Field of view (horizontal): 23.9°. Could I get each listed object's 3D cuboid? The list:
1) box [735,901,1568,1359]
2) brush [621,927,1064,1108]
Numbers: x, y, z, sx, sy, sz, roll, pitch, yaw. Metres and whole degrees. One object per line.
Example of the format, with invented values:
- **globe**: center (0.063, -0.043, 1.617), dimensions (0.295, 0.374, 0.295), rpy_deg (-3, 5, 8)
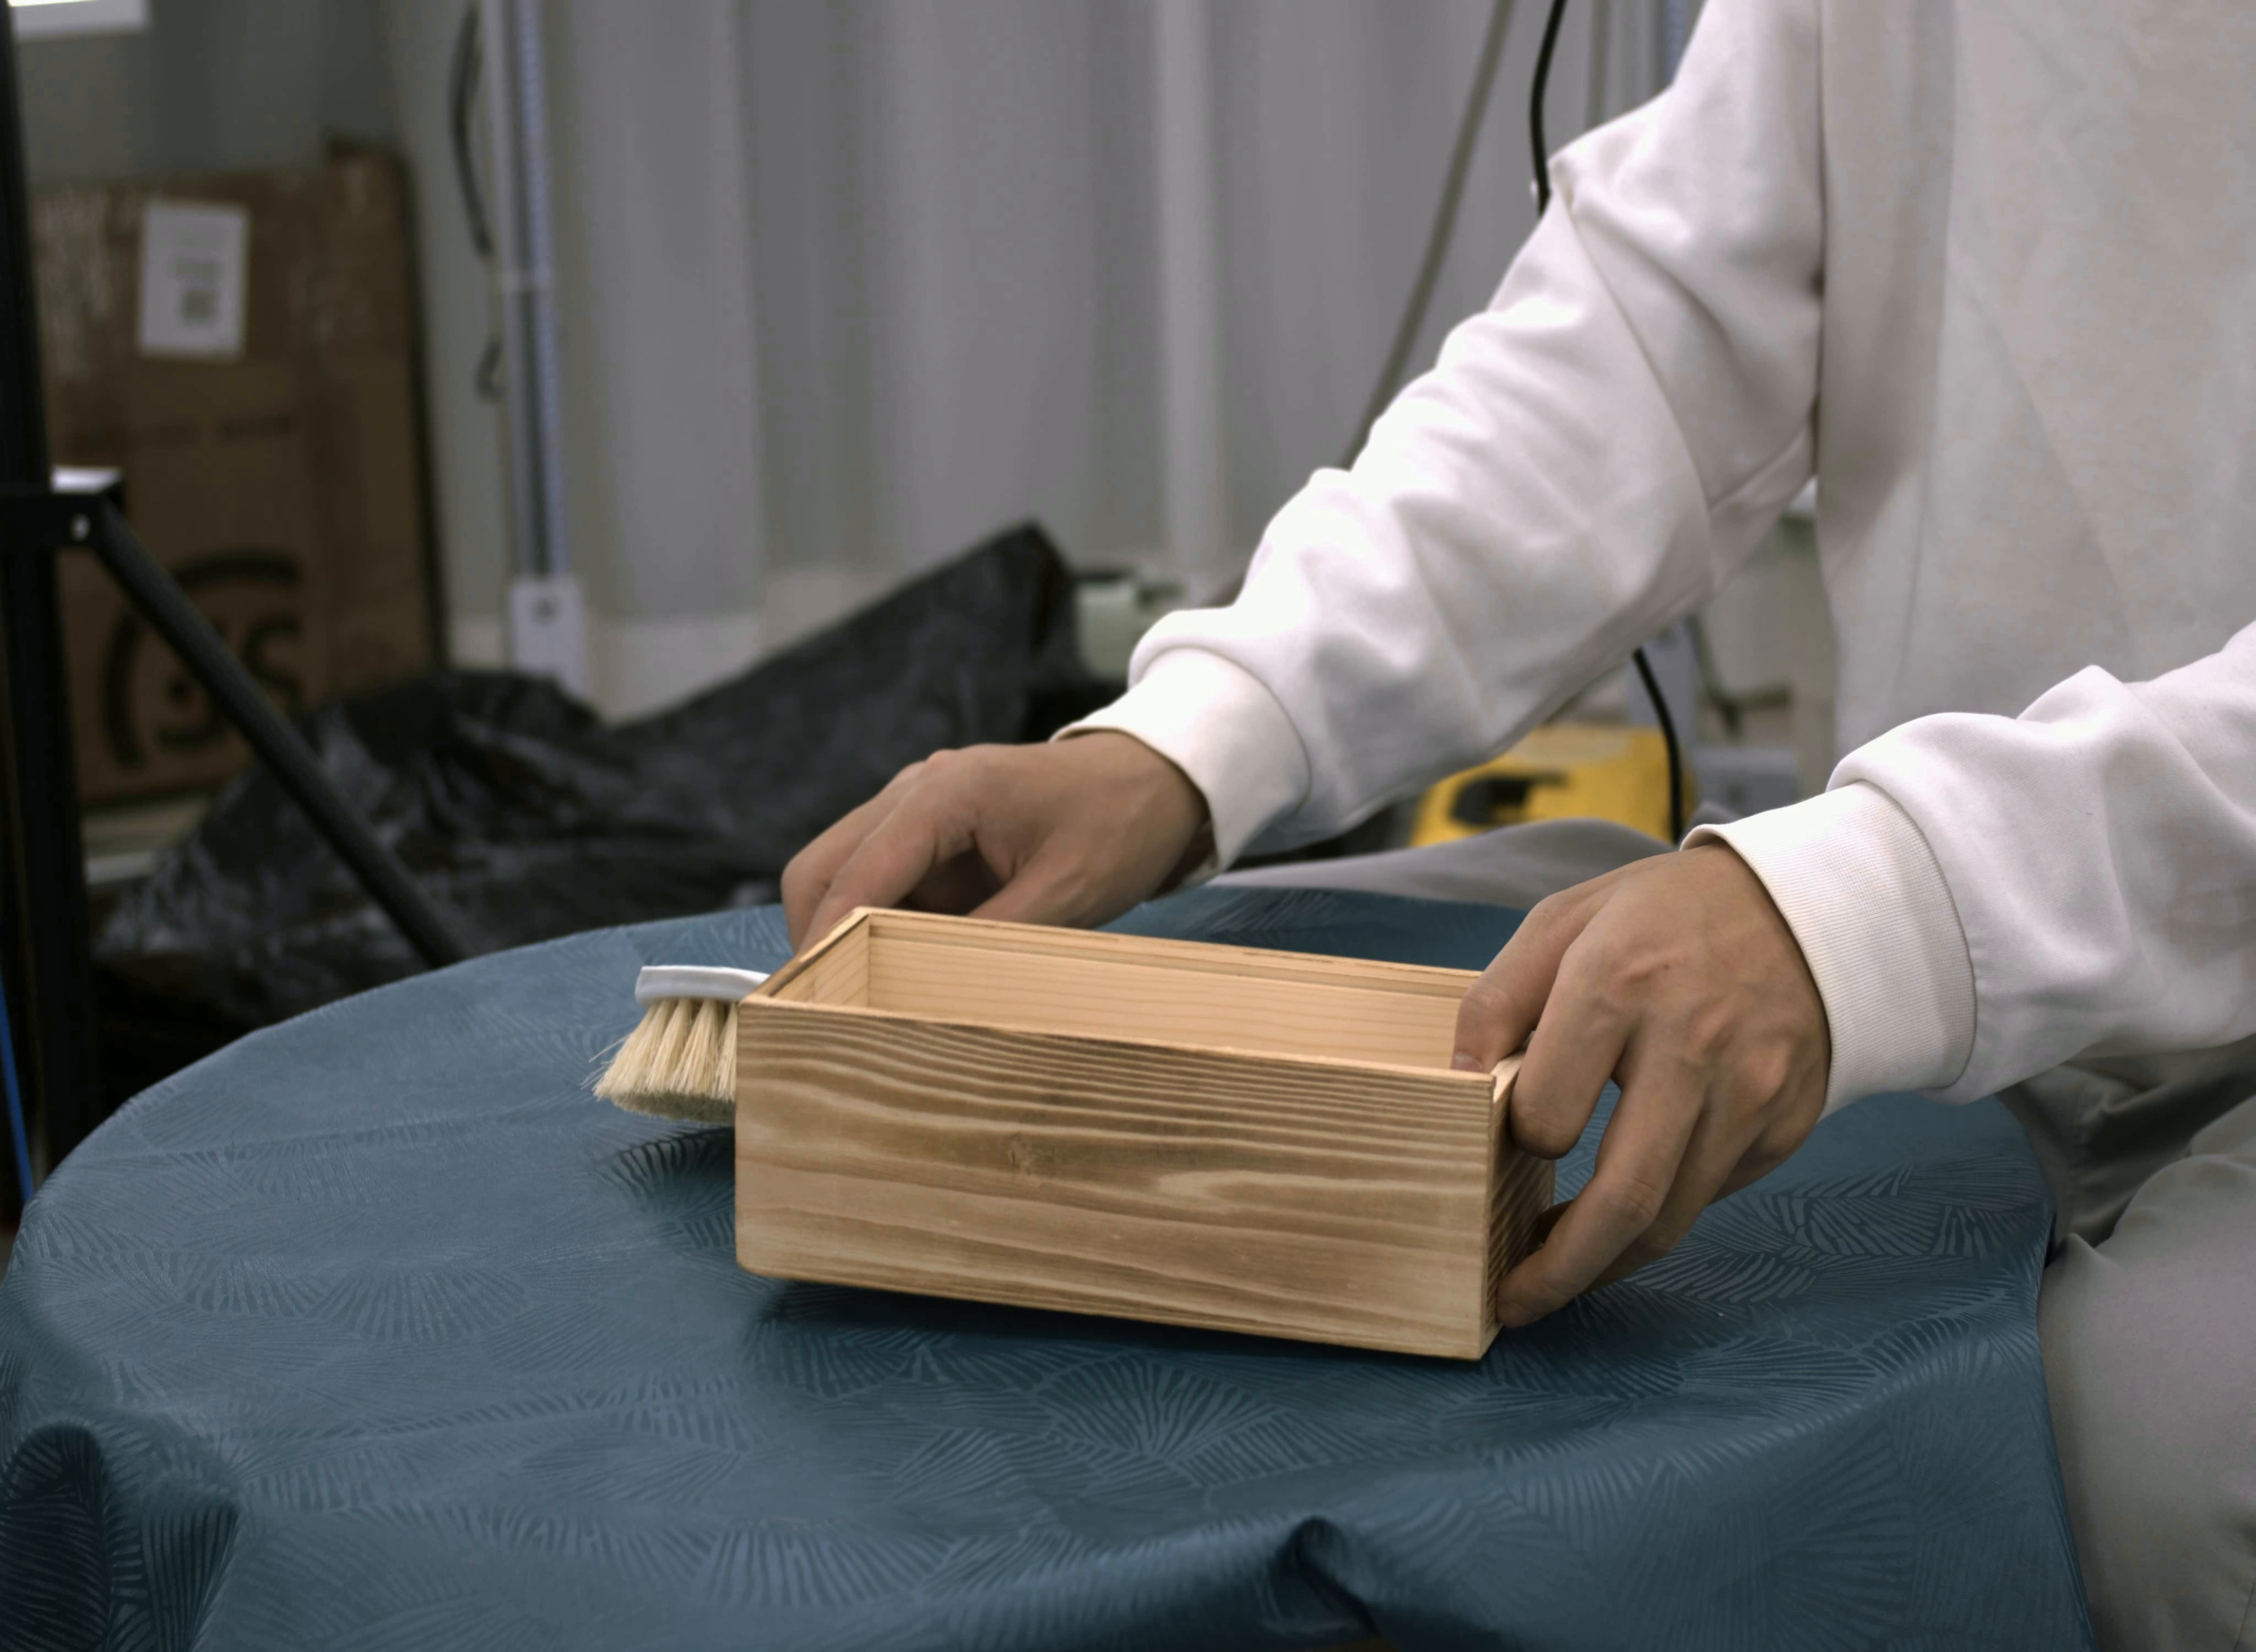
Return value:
- **box**: center (0.008, 0.082, 1.476), dimensions (0.213, 0.080, 0.106), rpy_deg (6, 14, 16)
- **brush**: center (-0.079, 0.062, 1.696), dimensions (0.069, 0.056, 0.262), rpy_deg (11, 3, 21)
